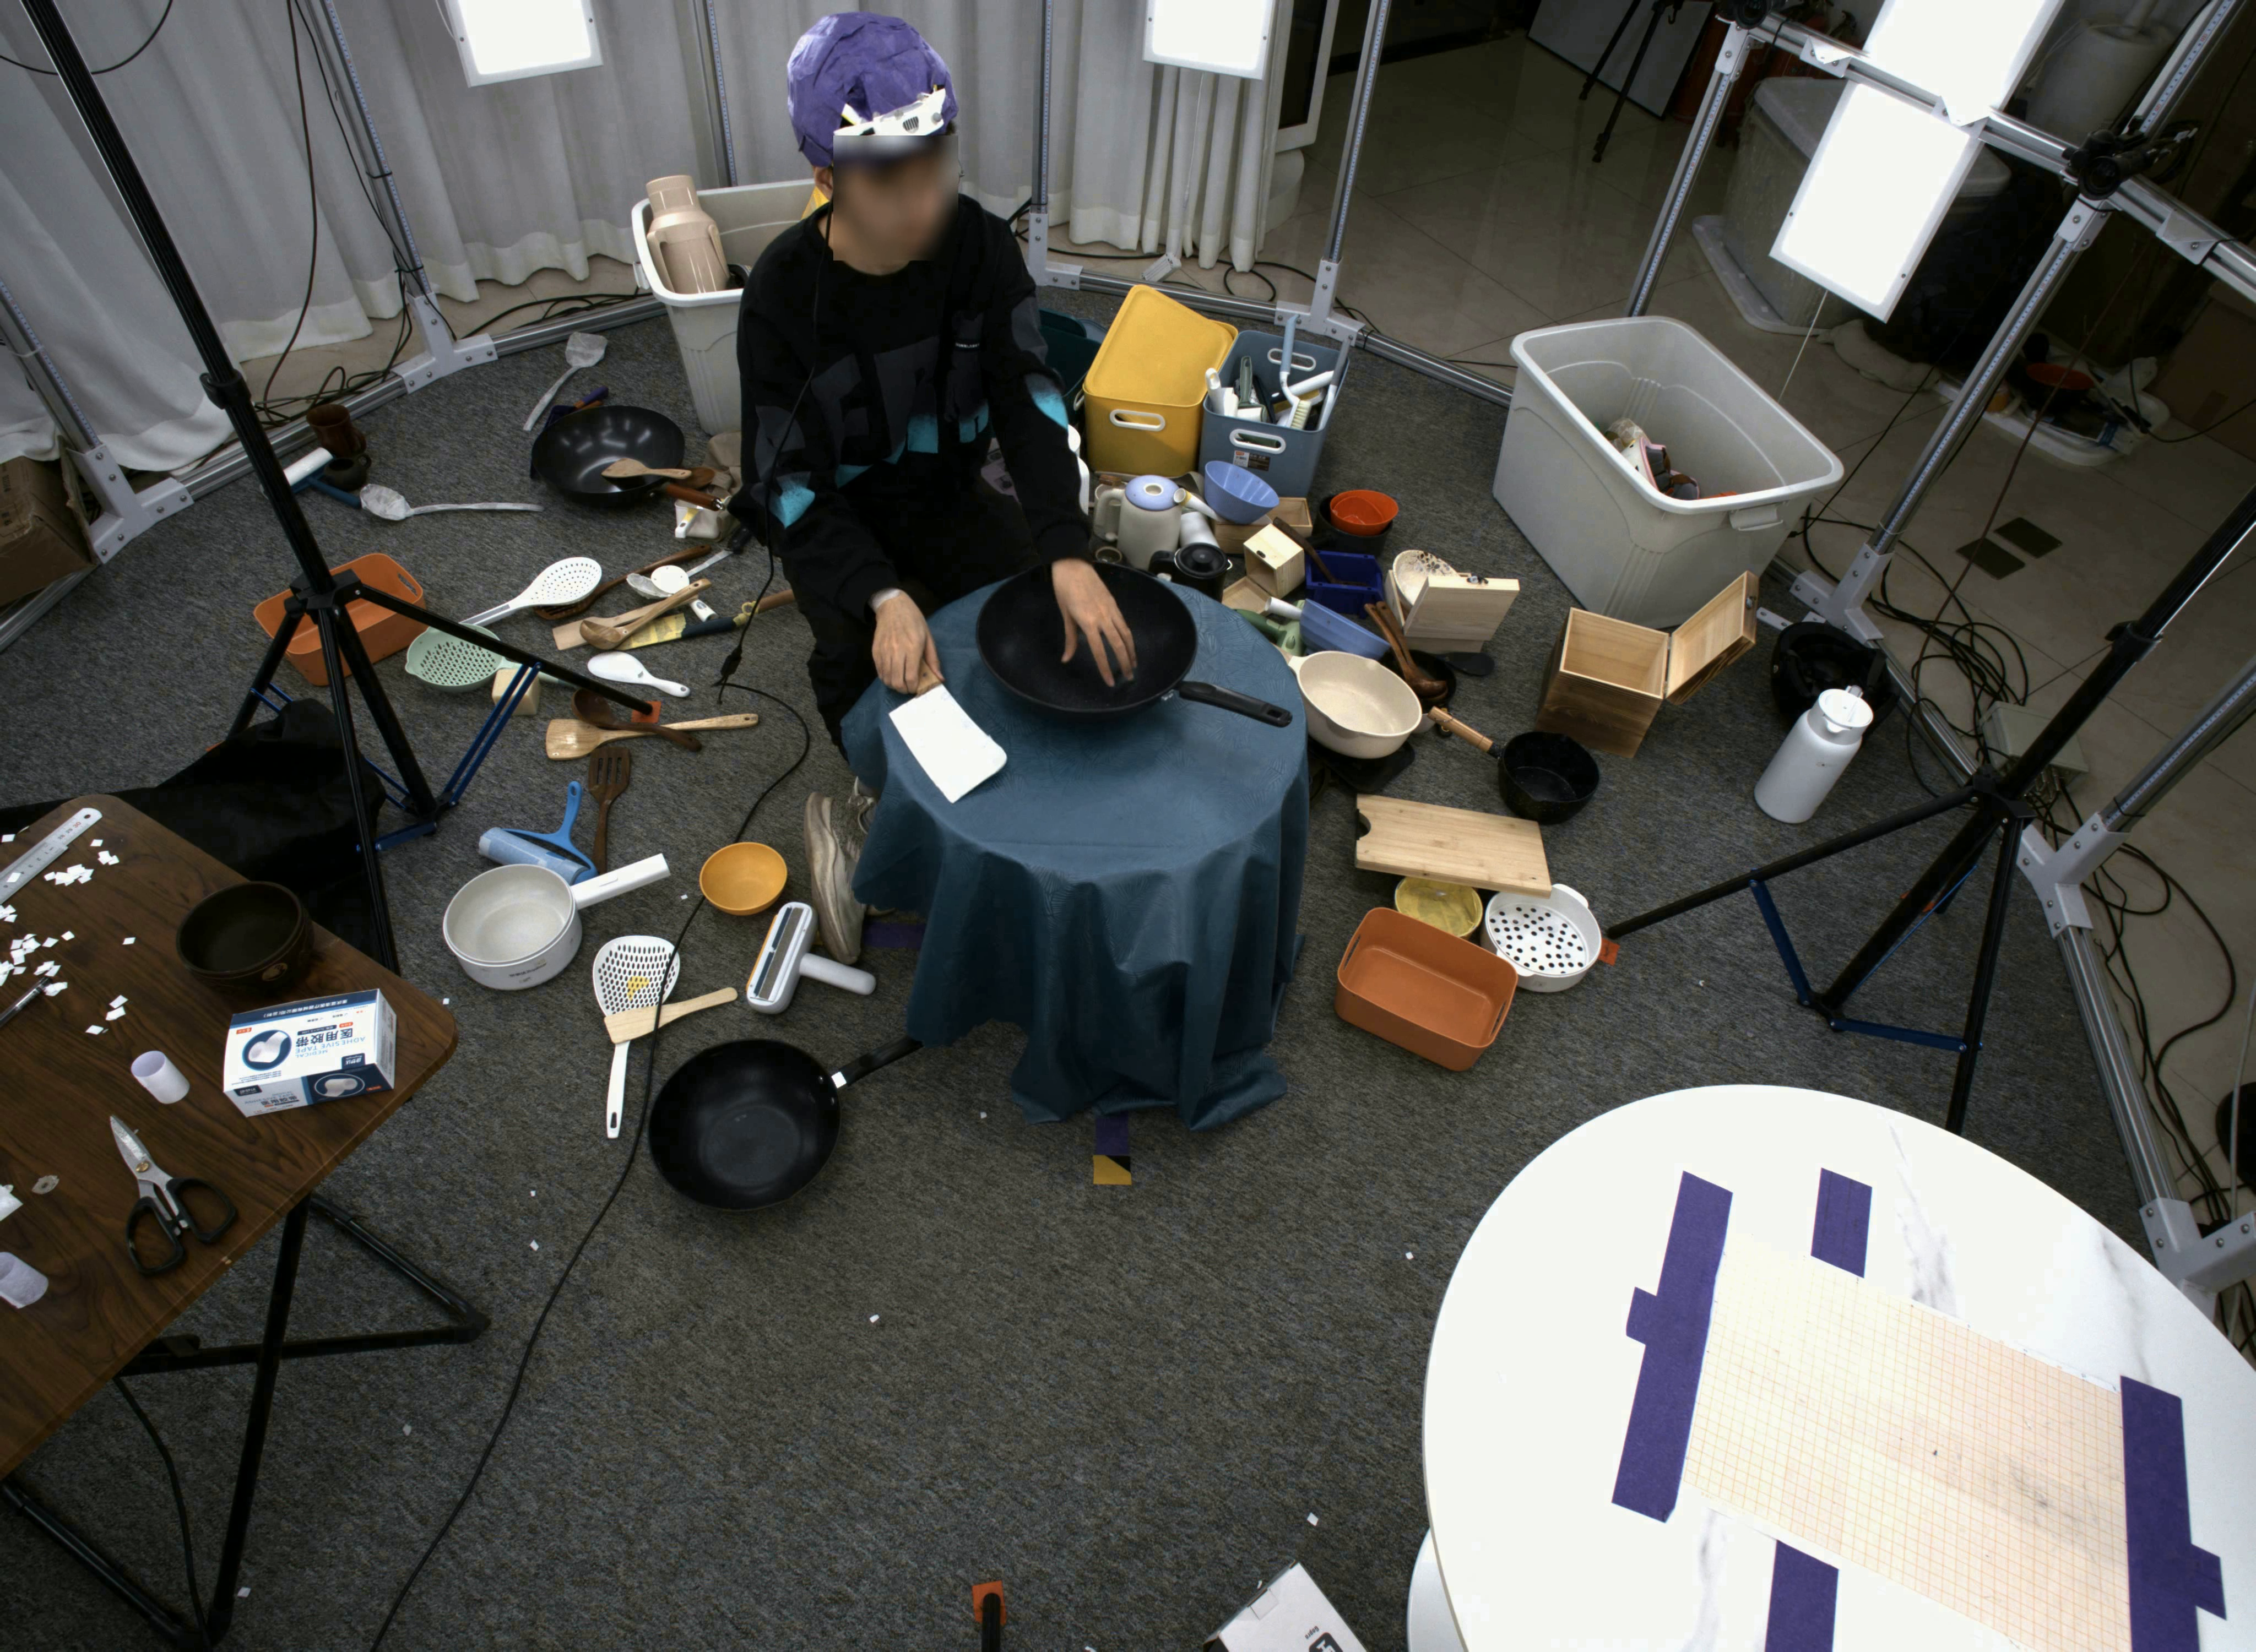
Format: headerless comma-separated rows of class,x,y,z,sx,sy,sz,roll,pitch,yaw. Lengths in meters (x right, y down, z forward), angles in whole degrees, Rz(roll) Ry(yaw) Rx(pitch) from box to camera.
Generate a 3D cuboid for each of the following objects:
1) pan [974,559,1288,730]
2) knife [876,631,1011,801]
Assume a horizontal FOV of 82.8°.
pan,0.008,-0.214,1.787,0.482,0.109,0.314,29,55,20
knife,-0.267,-0.161,1.771,0.114,0.021,0.322,-29,57,-10
